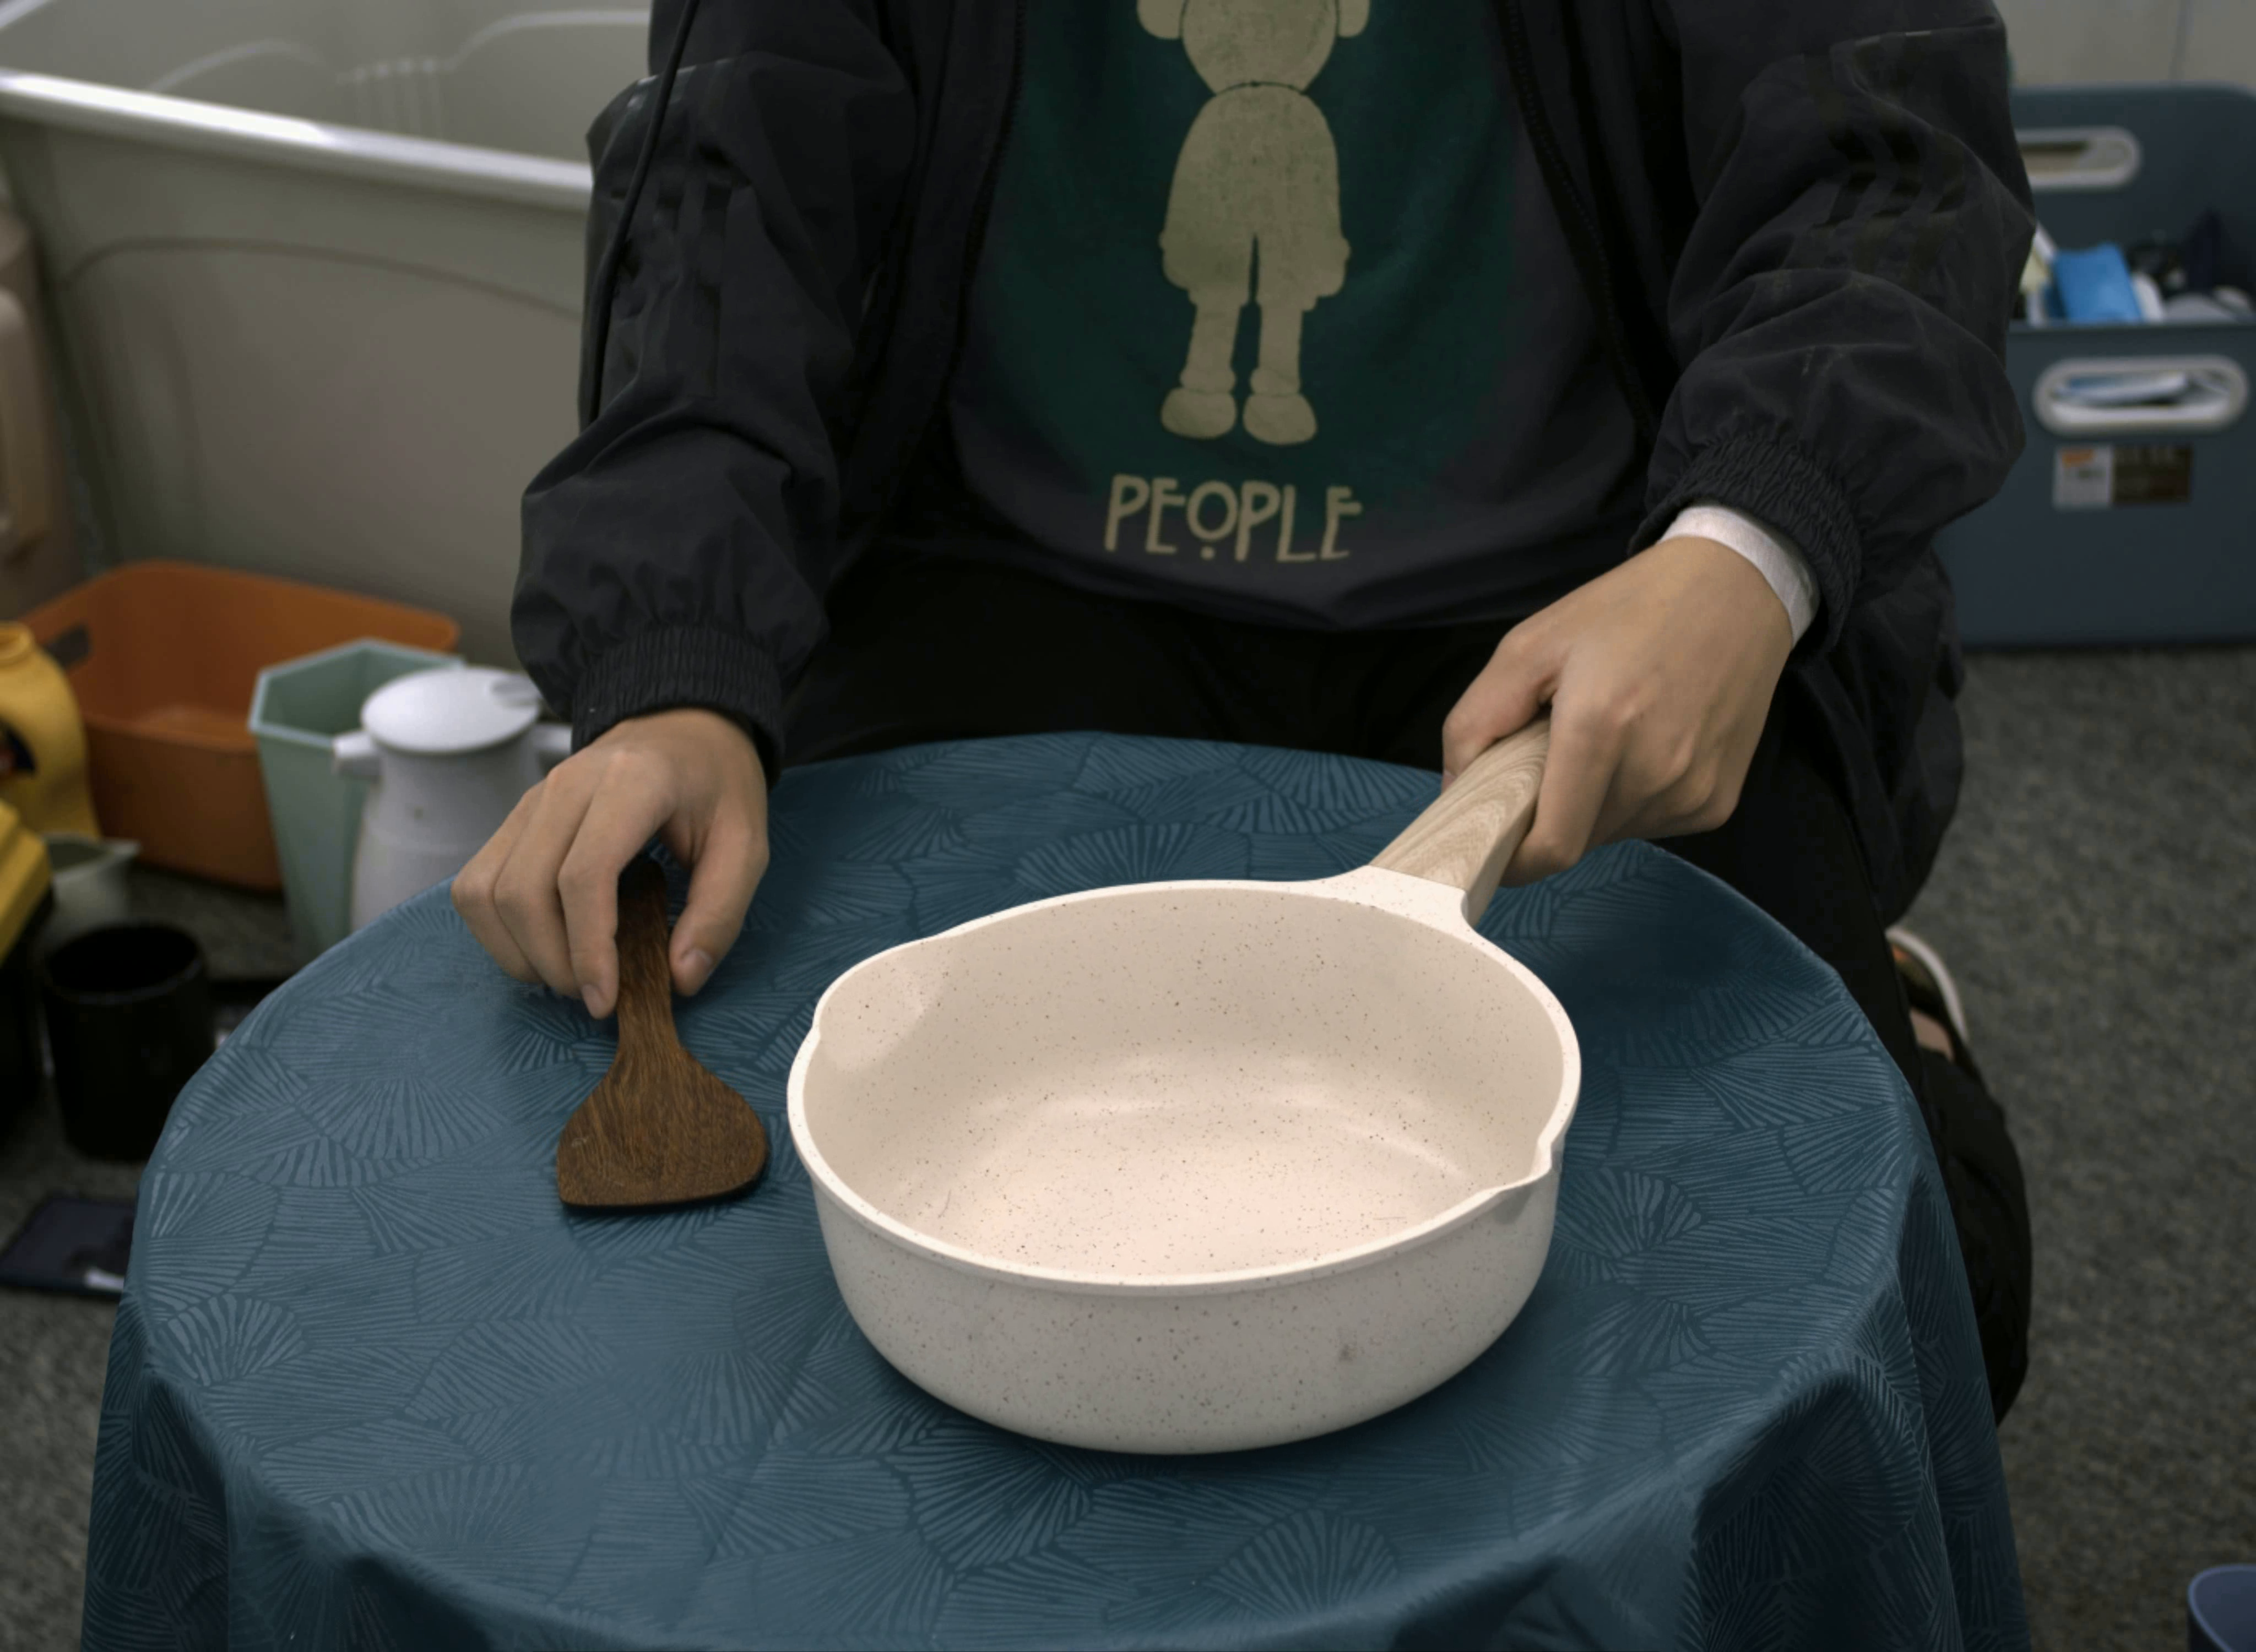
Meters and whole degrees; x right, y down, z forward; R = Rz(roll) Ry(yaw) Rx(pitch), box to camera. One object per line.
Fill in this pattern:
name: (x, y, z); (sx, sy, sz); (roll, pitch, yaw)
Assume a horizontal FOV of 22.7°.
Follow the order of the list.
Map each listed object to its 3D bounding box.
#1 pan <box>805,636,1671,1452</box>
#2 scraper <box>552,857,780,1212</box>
pan: (0.073, 0.068, 1.850); (0.262, 0.101, 0.441); (12, 30, 30)
scraper: (-0.166, 0.071, 1.946); (0.075, 0.010, 0.214); (-4, 33, -7)
